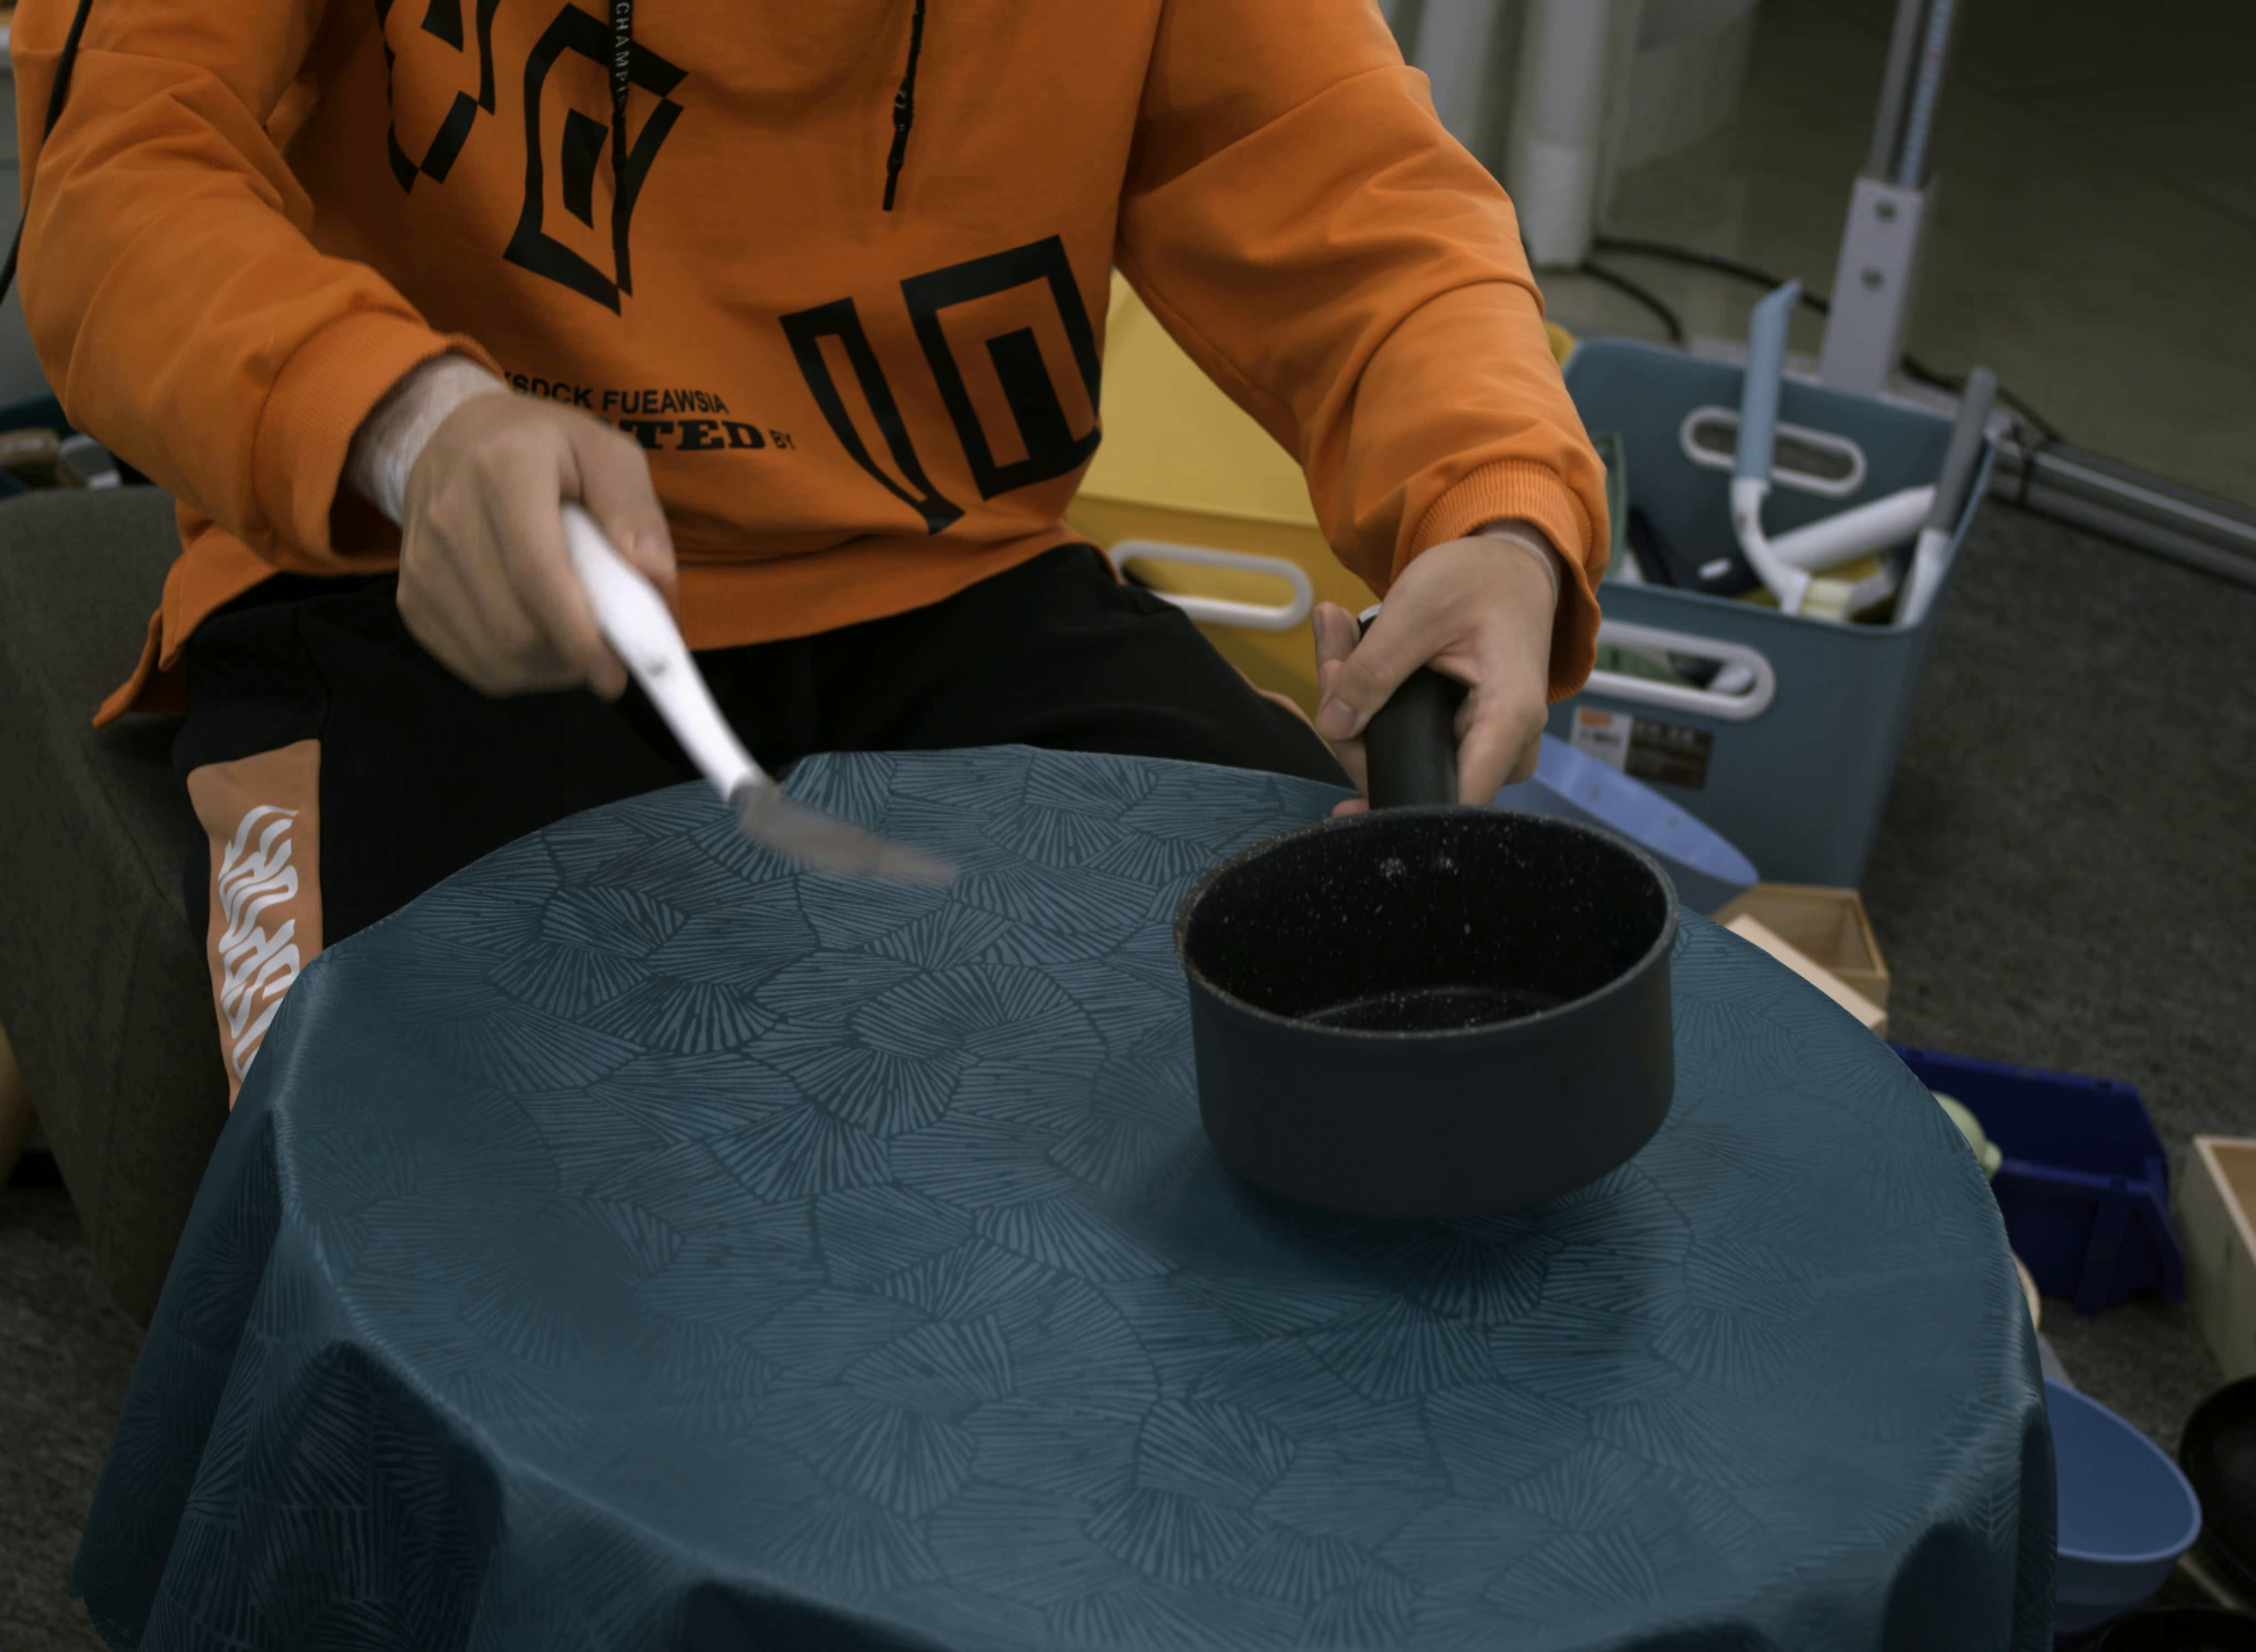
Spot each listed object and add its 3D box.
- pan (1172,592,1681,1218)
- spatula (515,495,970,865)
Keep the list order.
[{"bbox_3d":[0.107,0.024,1.876,0.172,0.086,0.330,-2,27,5],"label":"pan"},{"bbox_3d":[-0.134,-0.041,1.728,0.058,0.032,0.290,10,19,-32],"label":"spatula"}]
